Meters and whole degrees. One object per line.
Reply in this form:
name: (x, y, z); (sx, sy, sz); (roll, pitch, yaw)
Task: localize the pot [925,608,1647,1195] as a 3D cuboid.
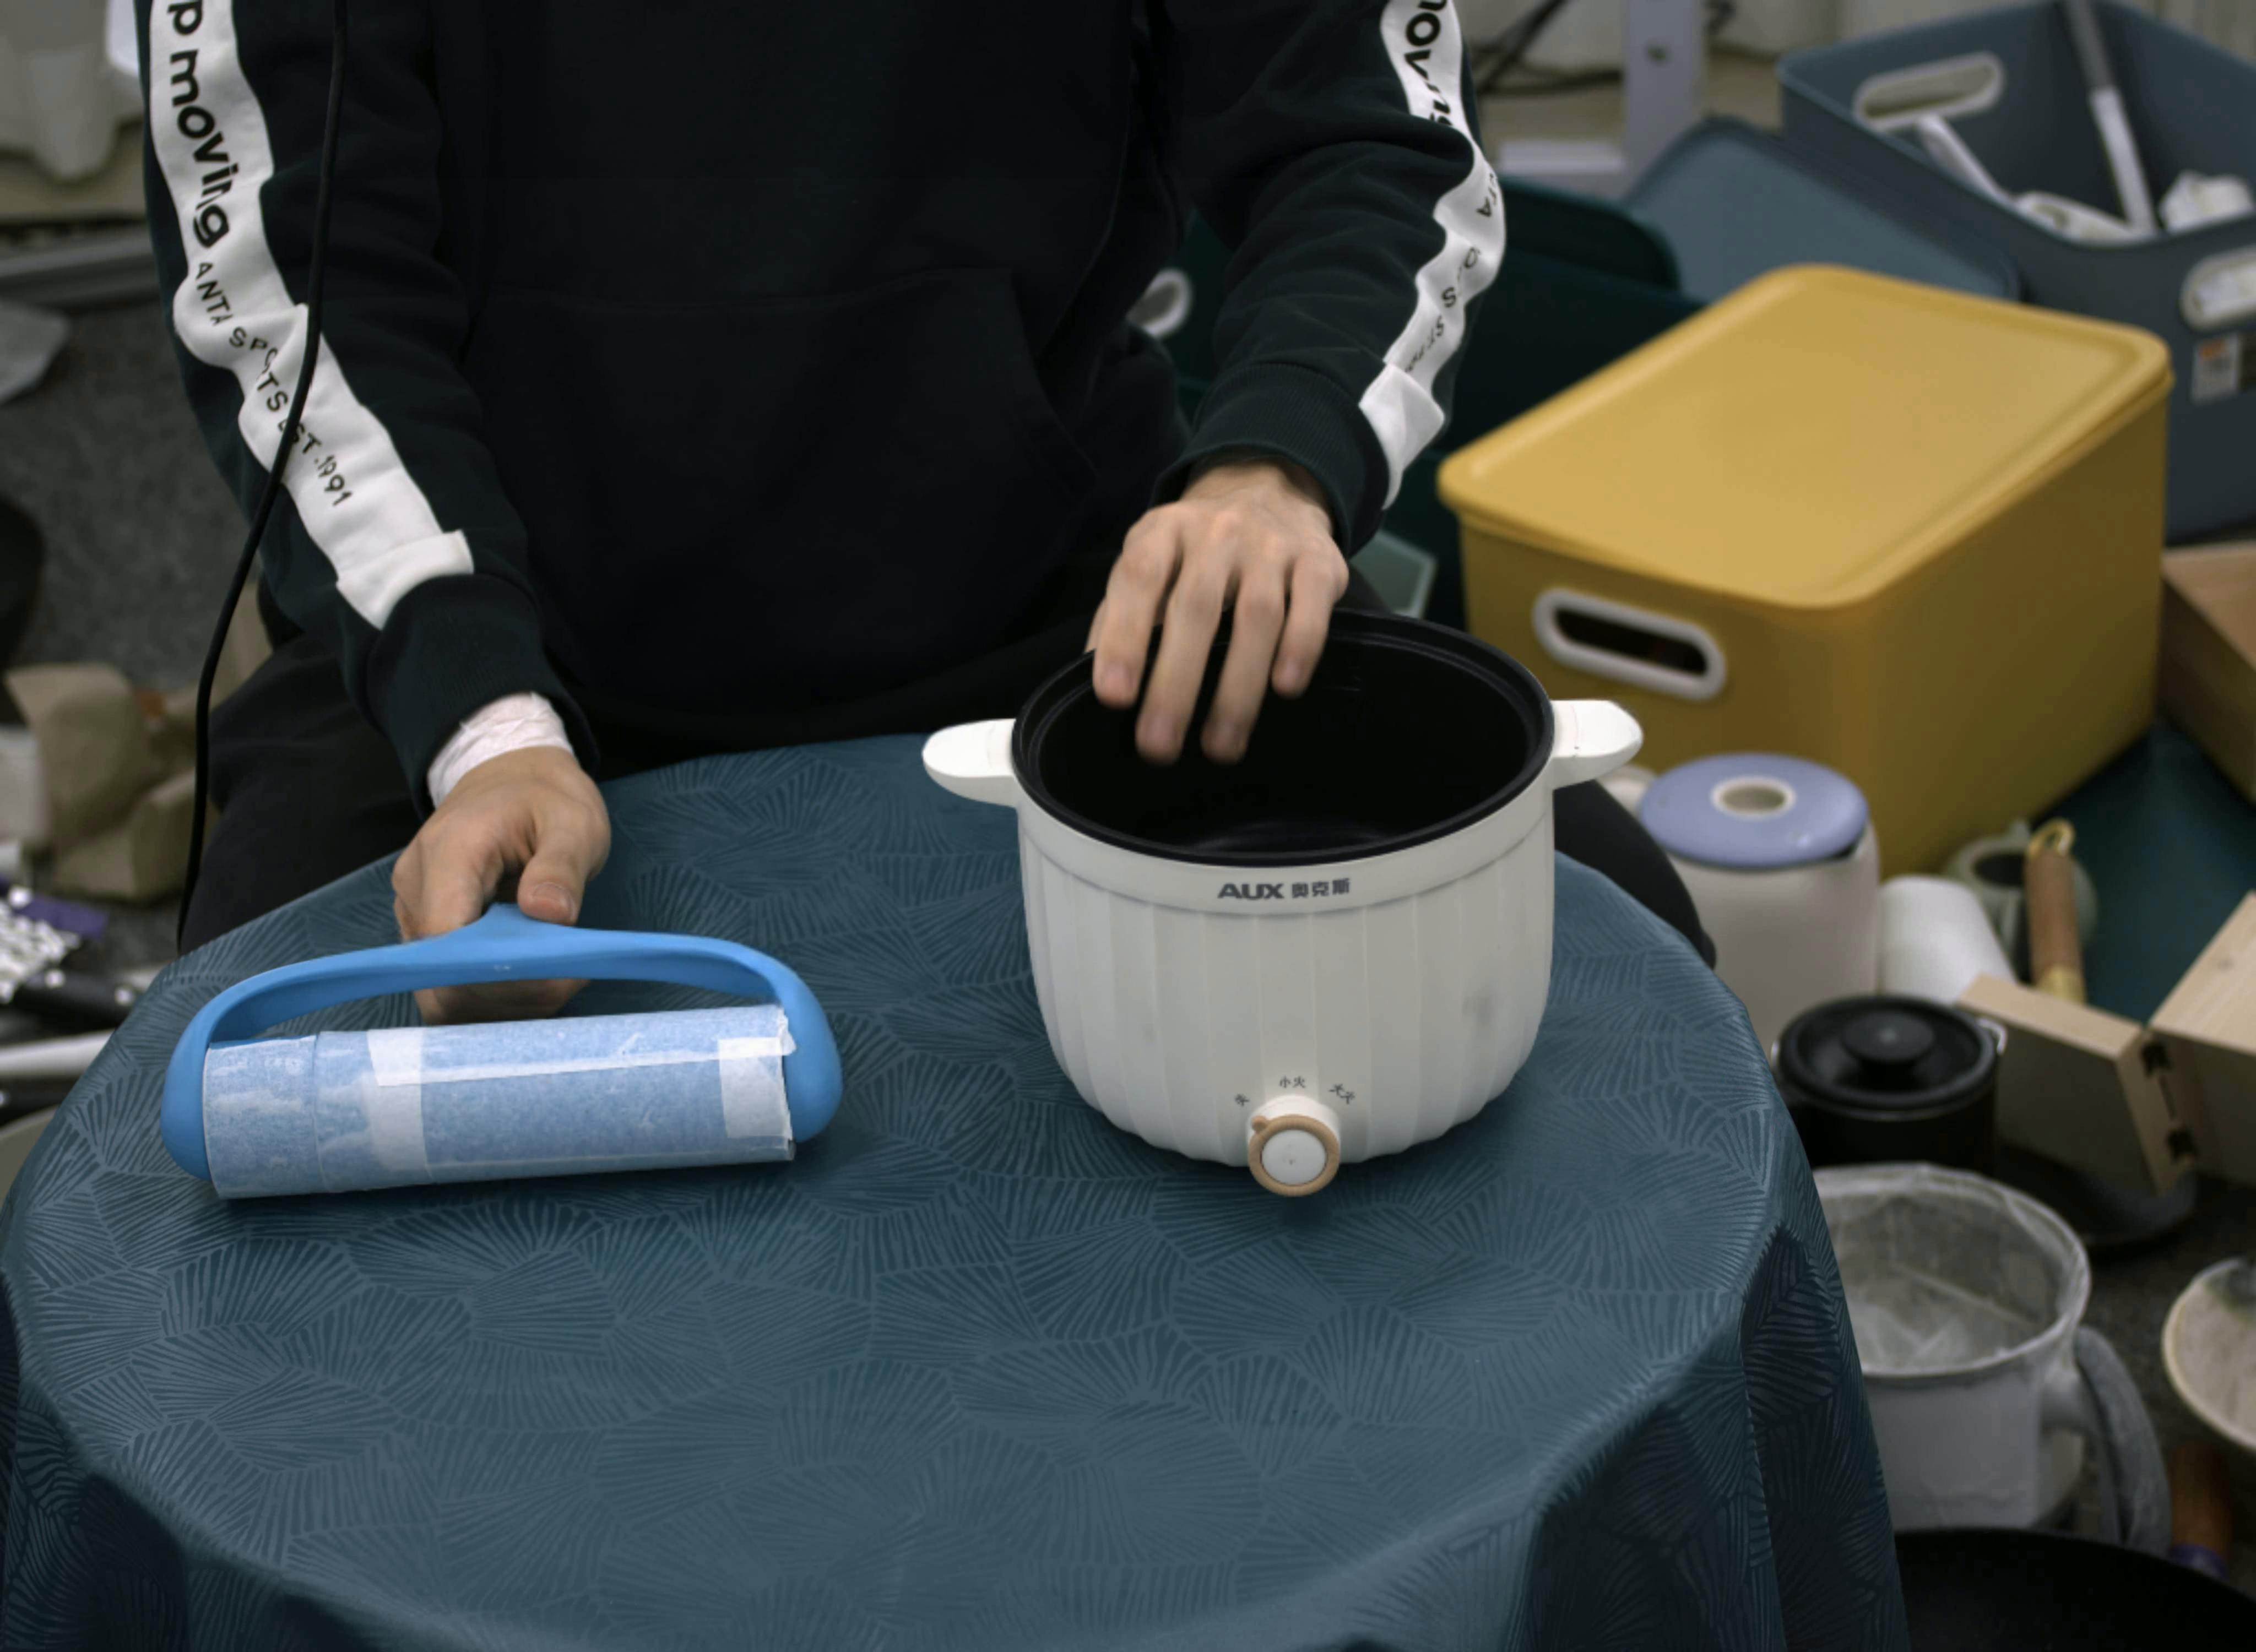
pot: (0.056, 0.028, 1.886); (0.239, 0.141, 0.193); (-3, 24, 2)

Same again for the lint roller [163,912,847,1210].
lint roller: (-0.213, 0.065, 1.930); (0.228, 0.067, 0.183); (-6, 29, -3)
